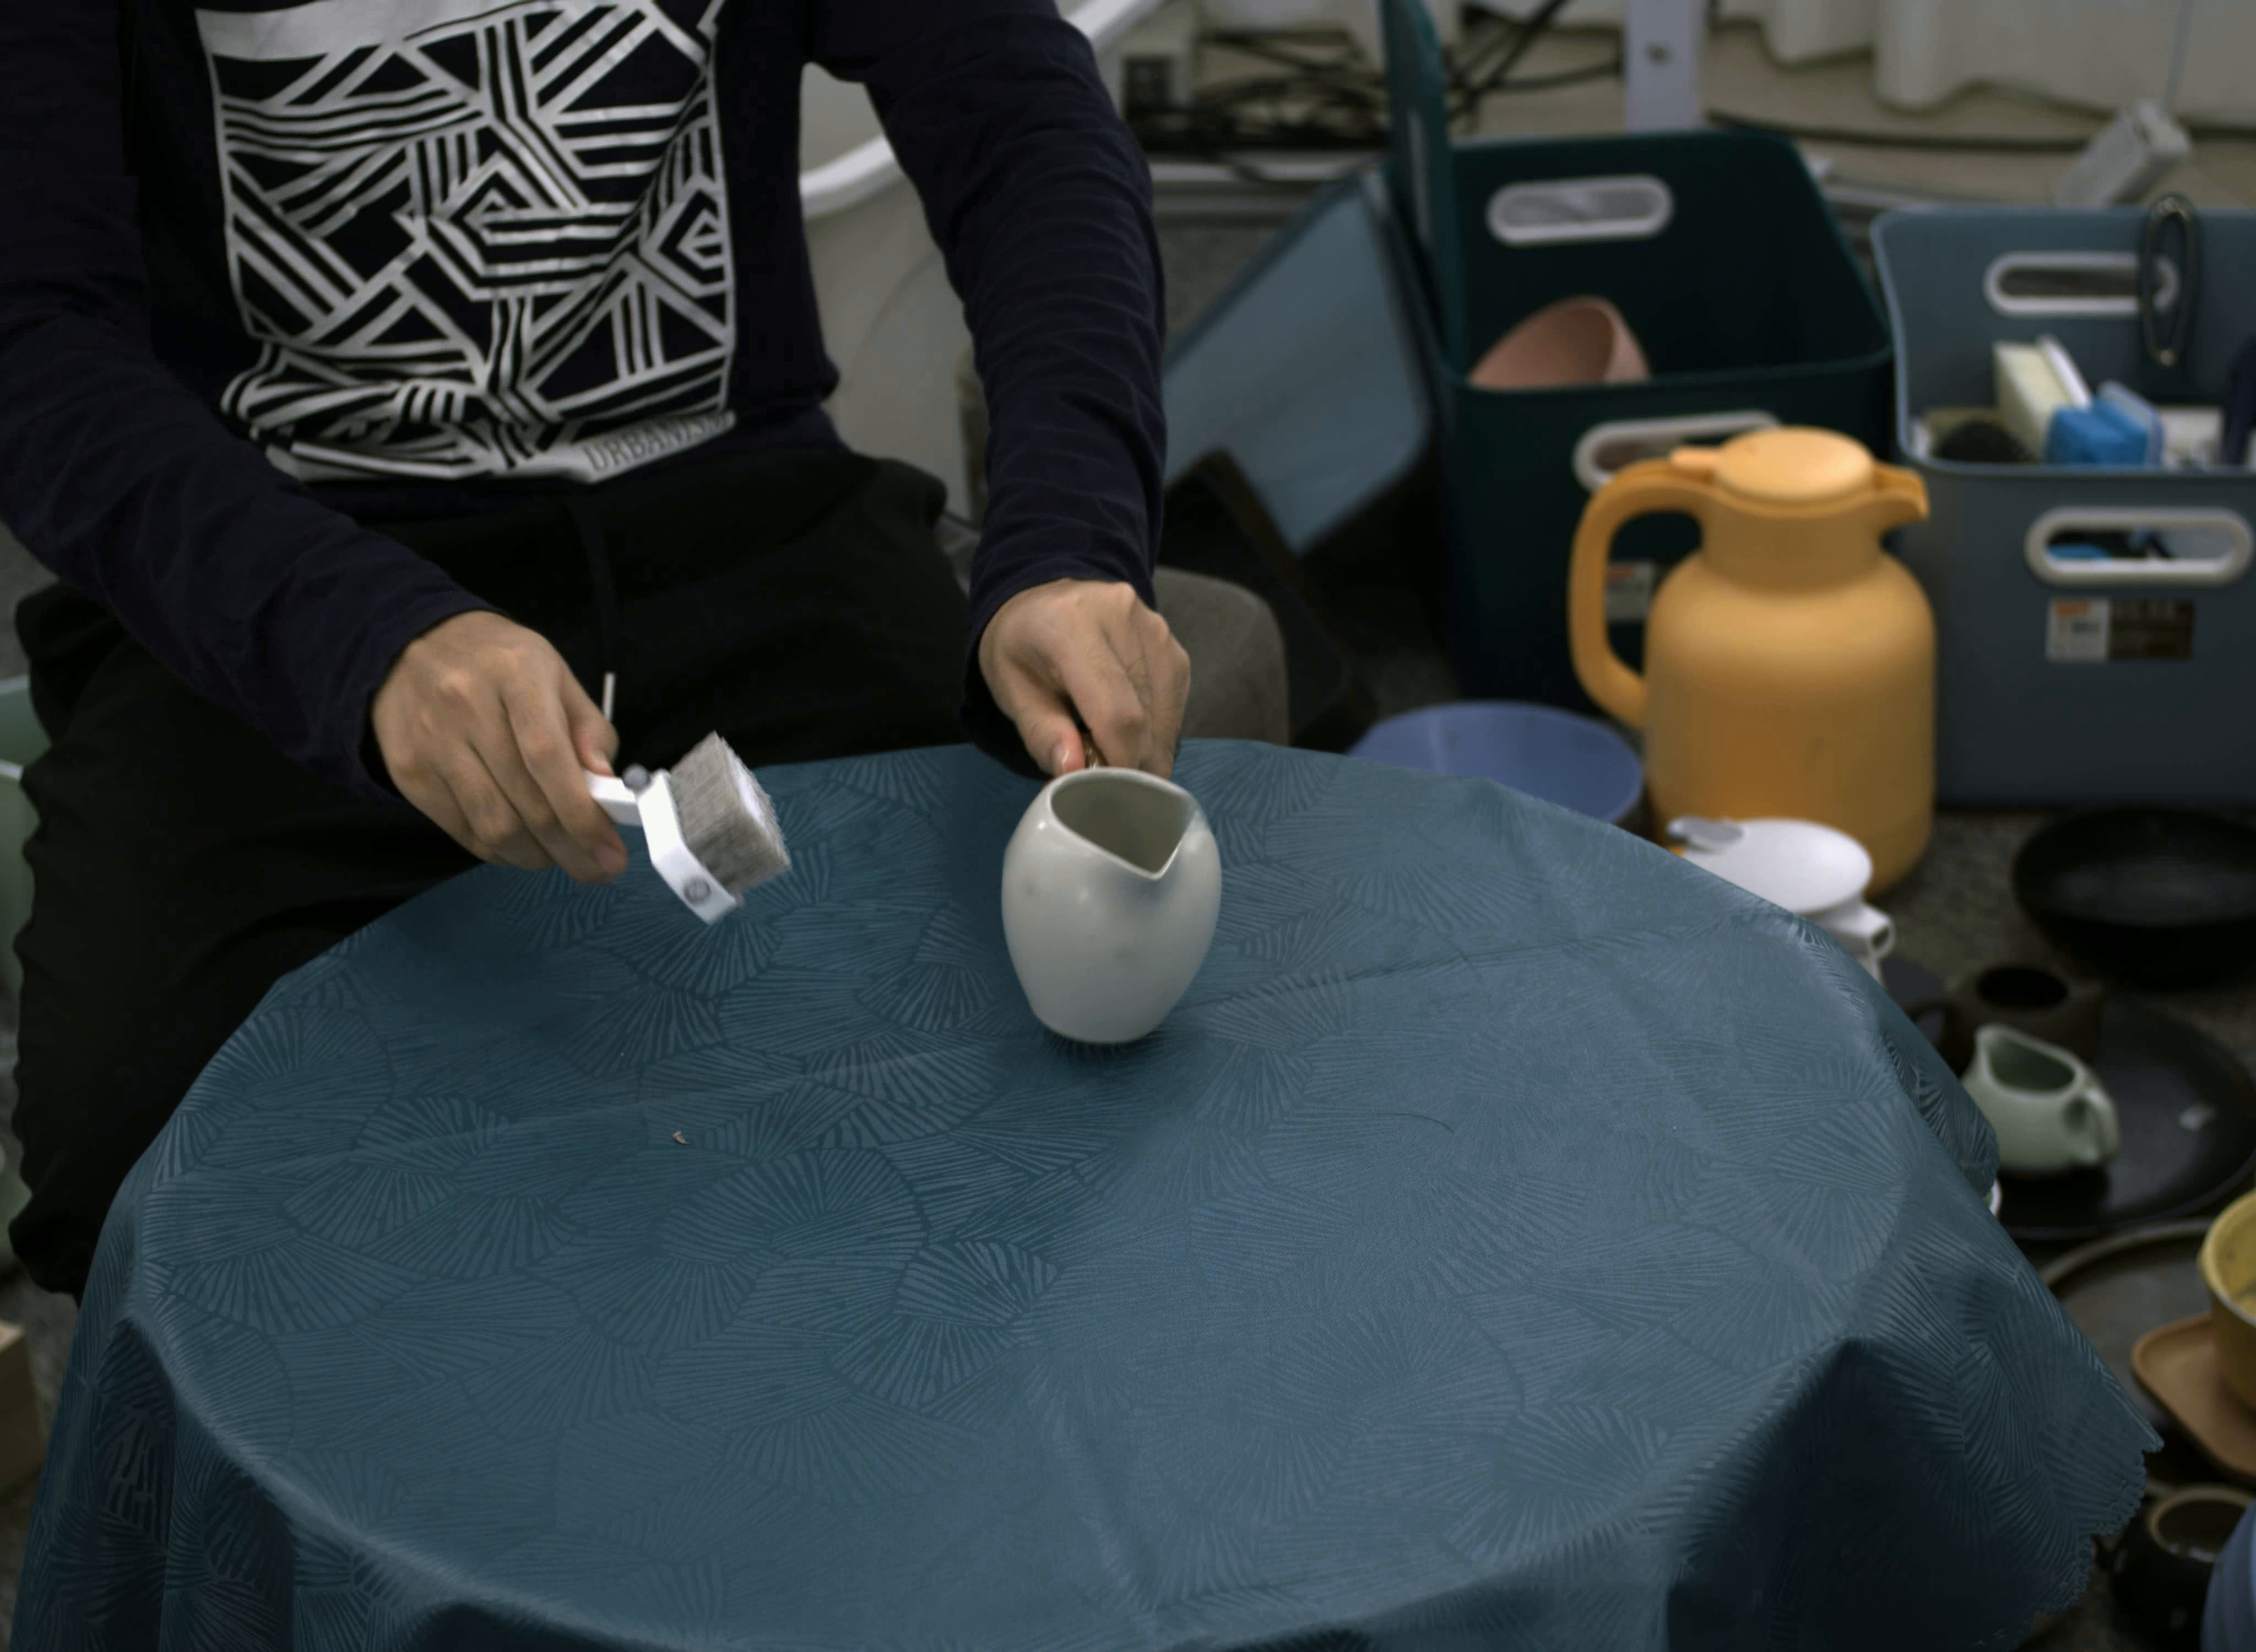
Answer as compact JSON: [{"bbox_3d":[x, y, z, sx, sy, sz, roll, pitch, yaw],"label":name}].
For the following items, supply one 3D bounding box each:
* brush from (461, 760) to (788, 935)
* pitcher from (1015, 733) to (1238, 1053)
[{"bbox_3d":[-0.174,-0.007,1.939,0.050,0.034,0.243,-43,23,-12],"label":"brush"},{"bbox_3d":[-0.003,0.026,1.929,0.076,0.086,0.121,4,33,-15],"label":"pitcher"}]
